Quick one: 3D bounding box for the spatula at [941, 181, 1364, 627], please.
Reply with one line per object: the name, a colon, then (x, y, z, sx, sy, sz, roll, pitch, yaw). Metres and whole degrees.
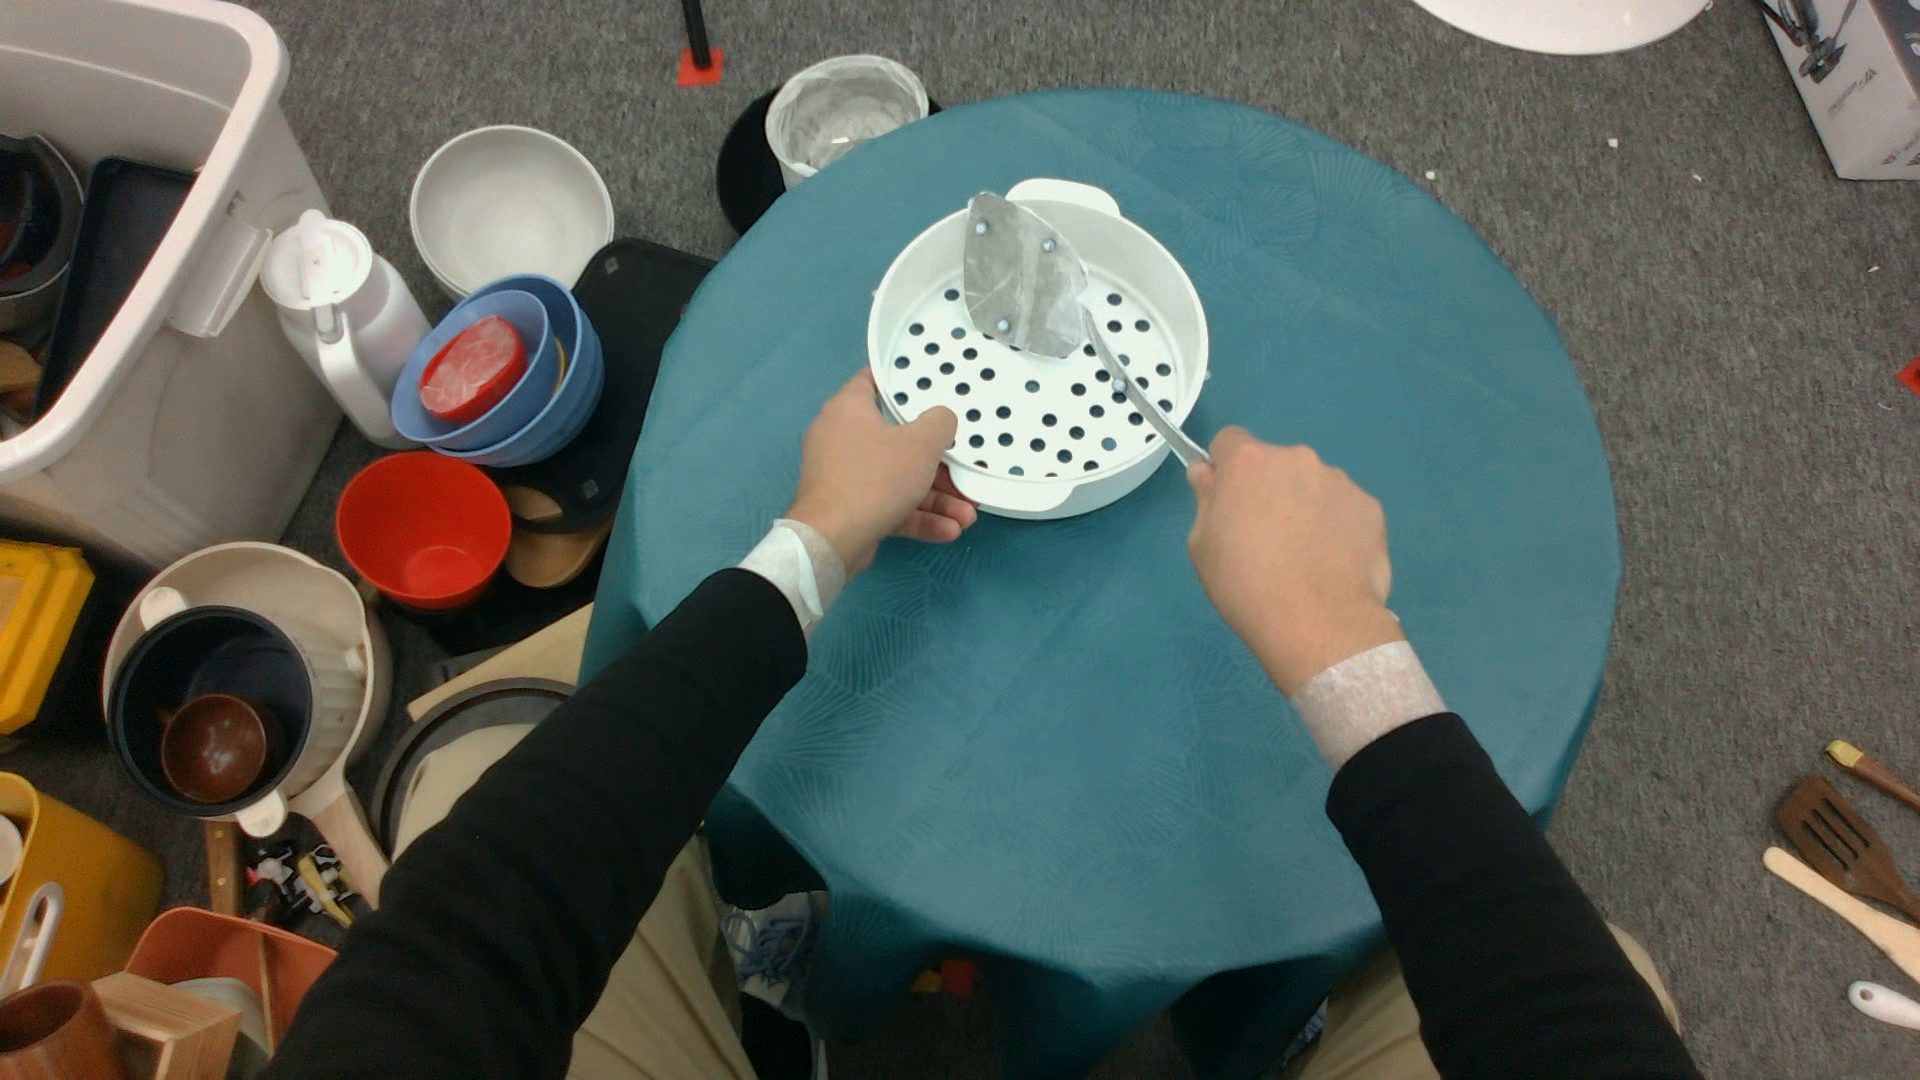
spatula: (0.090, -0.077, 0.747, 0.045, 0.098, 0.365, -15, 47, -23)

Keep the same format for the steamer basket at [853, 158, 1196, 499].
steamer basket: (0.038, -0.122, 0.838, 0.202, 0.069, 0.231, 10, 67, 4)
